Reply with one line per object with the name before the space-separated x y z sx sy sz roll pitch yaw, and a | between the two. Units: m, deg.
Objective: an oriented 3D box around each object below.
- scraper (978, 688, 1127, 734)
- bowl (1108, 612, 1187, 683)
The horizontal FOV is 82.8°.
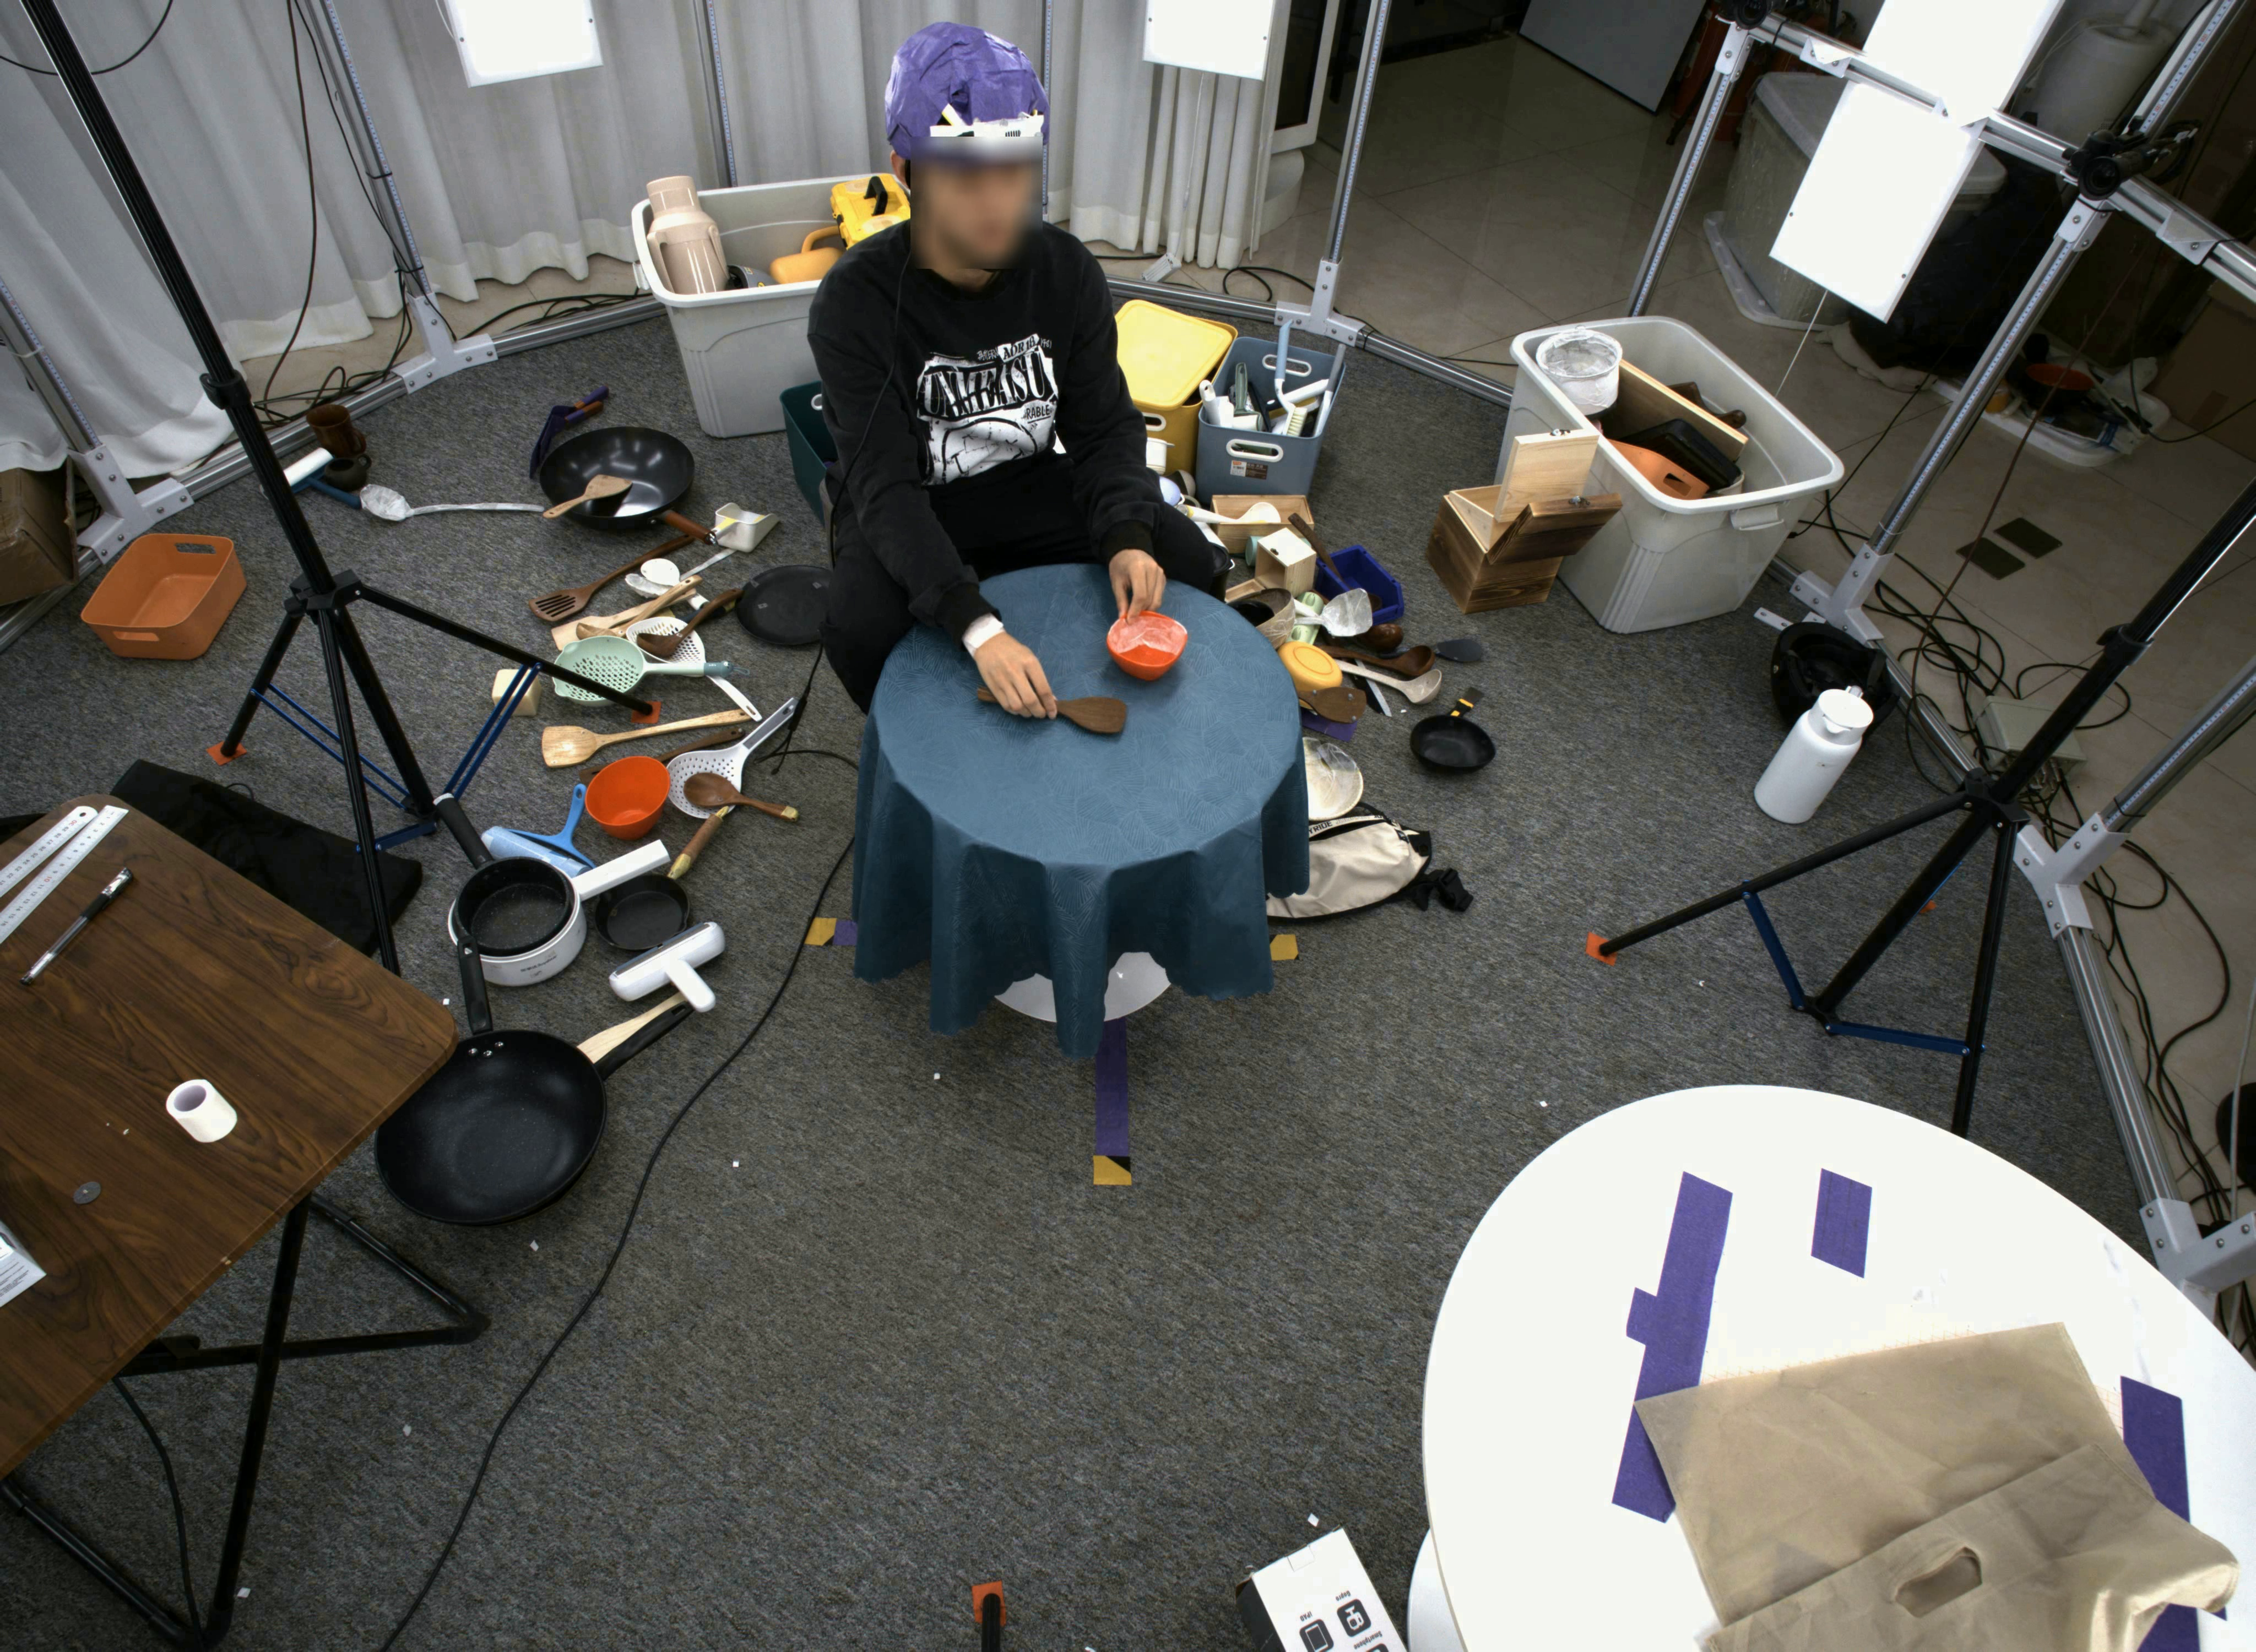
scraper | -0.107 -0.169 1.810 0.211 0.010 0.077 10 44 1
bowl | 0.027 -0.254 1.875 0.119 0.050 0.122 2 52 -2
